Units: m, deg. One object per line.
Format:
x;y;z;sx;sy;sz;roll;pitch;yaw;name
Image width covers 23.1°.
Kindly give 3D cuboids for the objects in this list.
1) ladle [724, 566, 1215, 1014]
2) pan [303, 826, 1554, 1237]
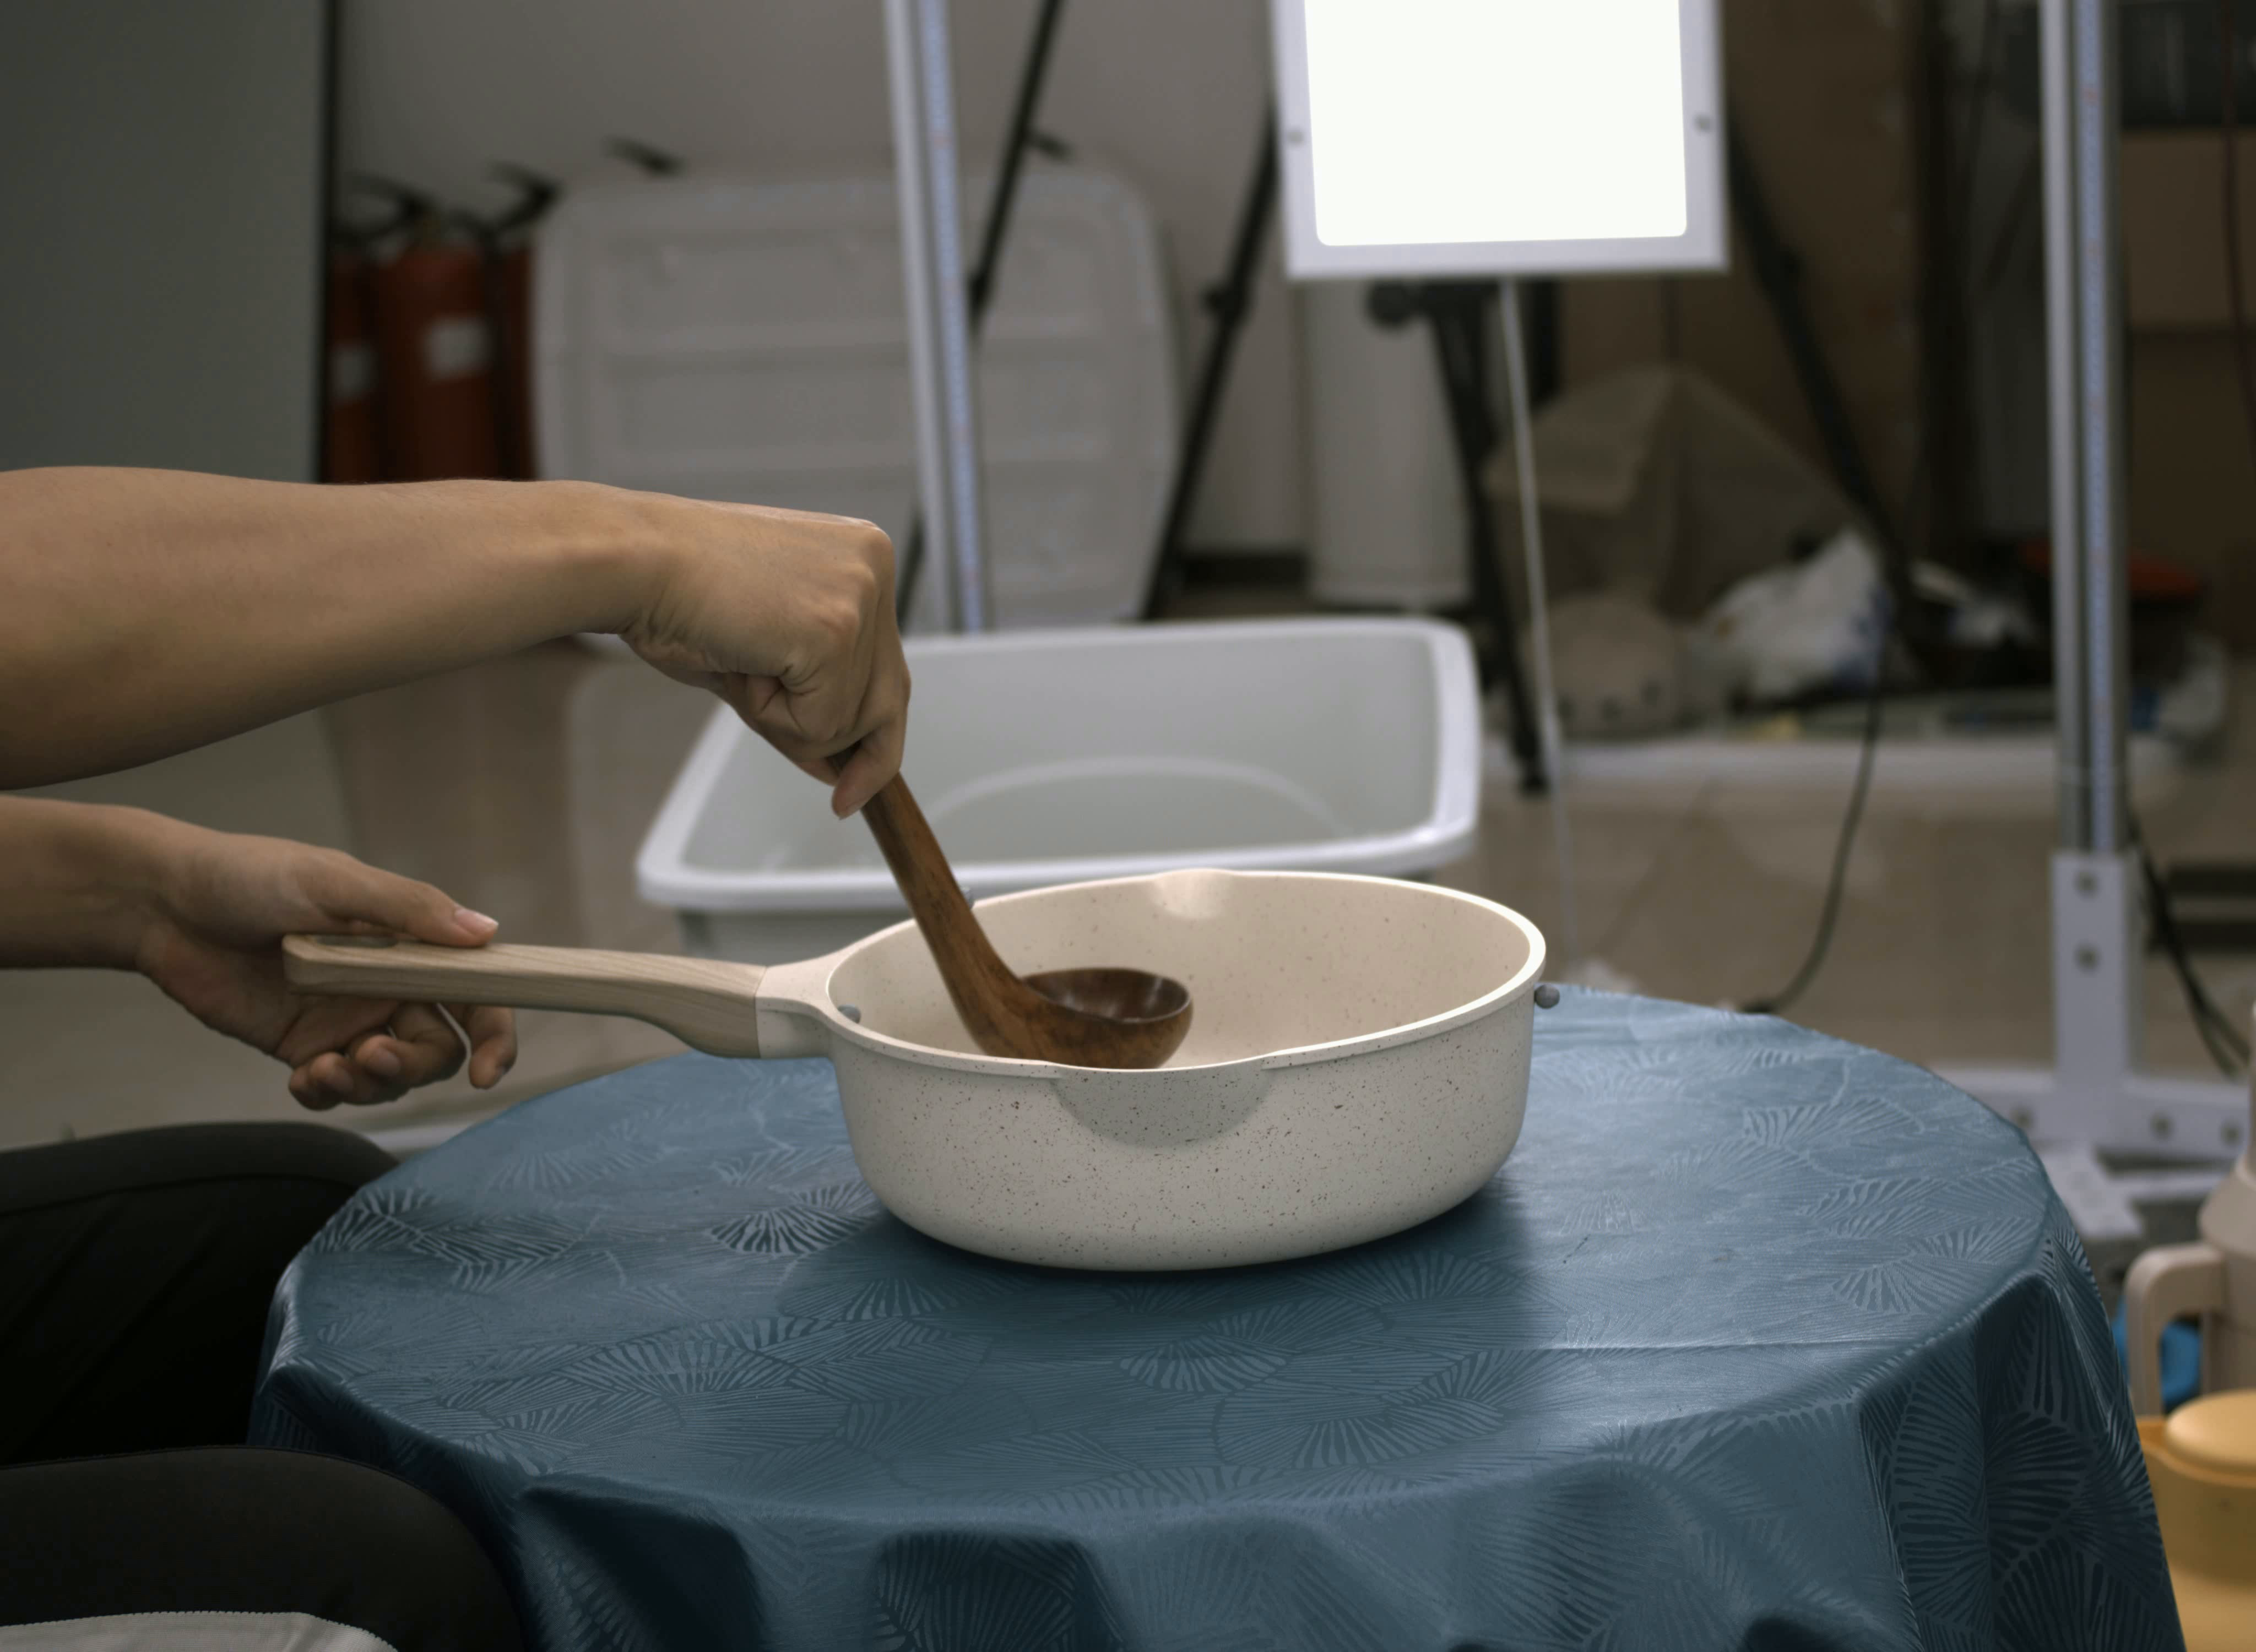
-0.051;-0.013;1.862;0.083;0.272;0.075;2;49;34;ladle
-0.067;0.071;1.914;0.436;0.102;0.262;-4;15;6;pan
